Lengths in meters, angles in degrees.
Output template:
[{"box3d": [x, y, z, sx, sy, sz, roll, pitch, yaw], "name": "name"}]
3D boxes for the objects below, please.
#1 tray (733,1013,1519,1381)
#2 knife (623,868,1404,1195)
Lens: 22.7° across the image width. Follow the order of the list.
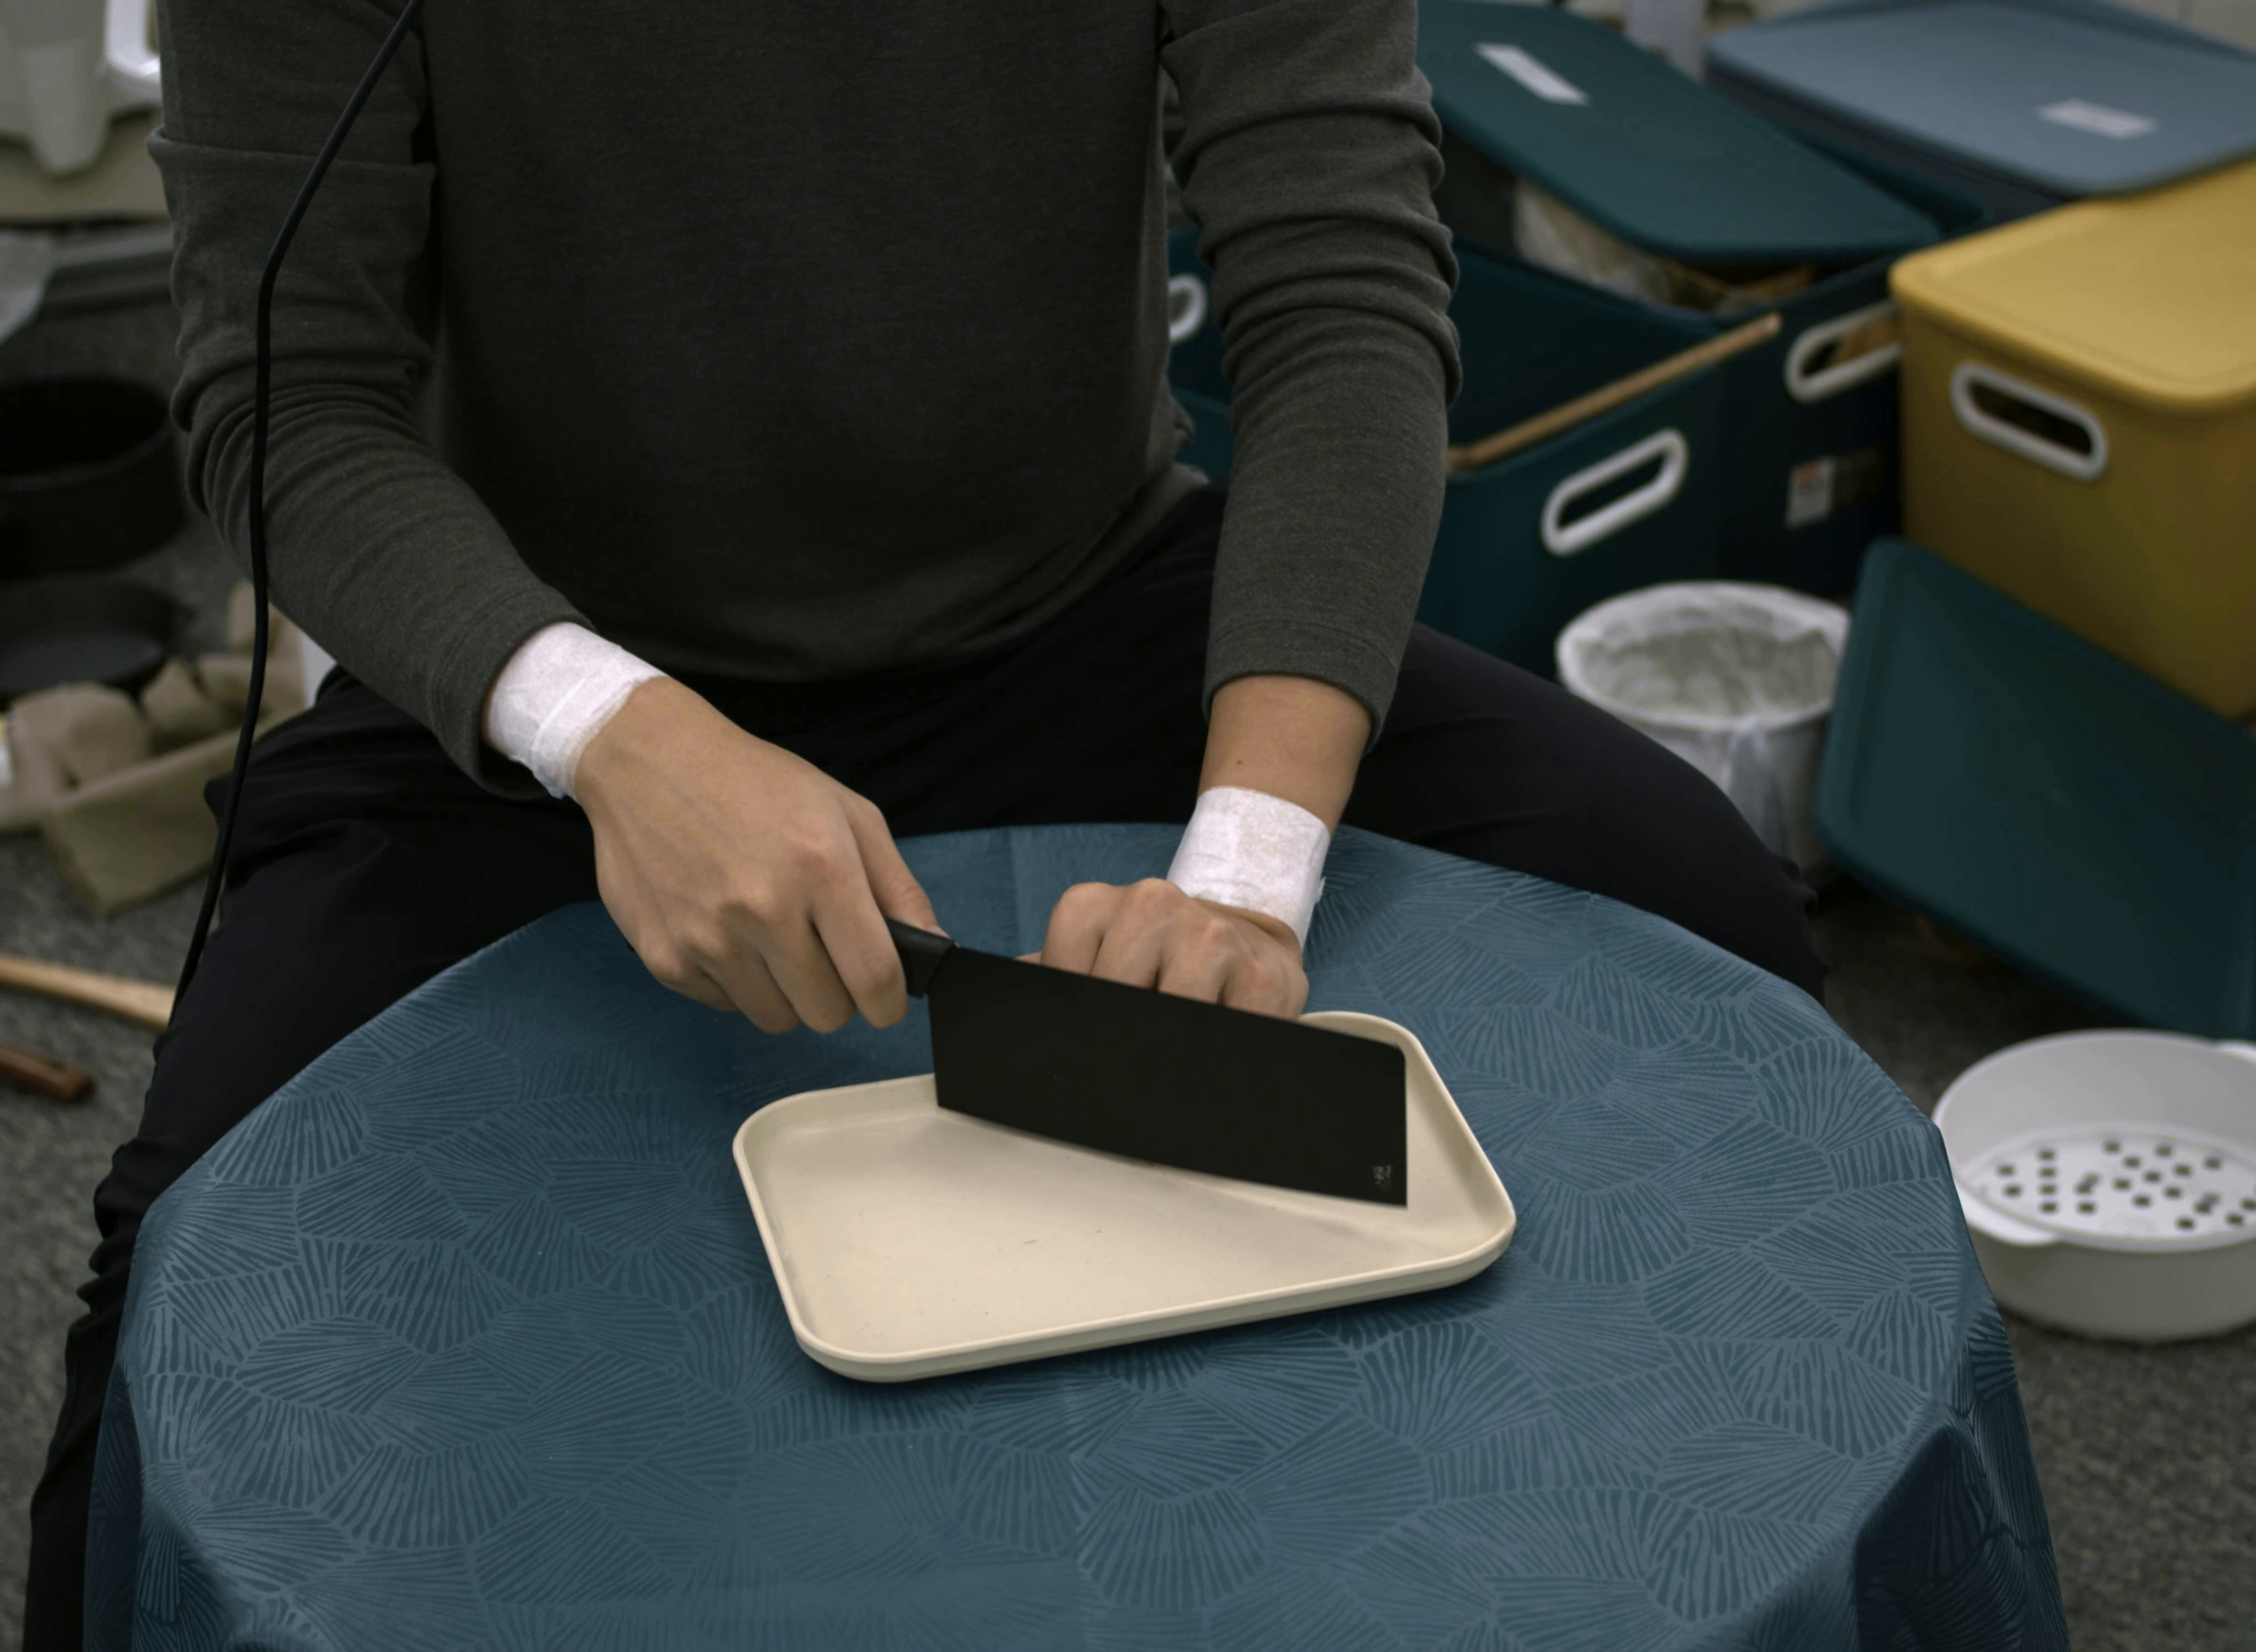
[{"box3d": [-0.002, 0.121, 1.842, 0.239, 0.017, 0.173, -9, 27, -11], "name": "tray"}, {"box3d": [-0.041, 0.065, 1.873, 0.301, 0.080, 0.021, 16, 29, 26], "name": "knife"}]
